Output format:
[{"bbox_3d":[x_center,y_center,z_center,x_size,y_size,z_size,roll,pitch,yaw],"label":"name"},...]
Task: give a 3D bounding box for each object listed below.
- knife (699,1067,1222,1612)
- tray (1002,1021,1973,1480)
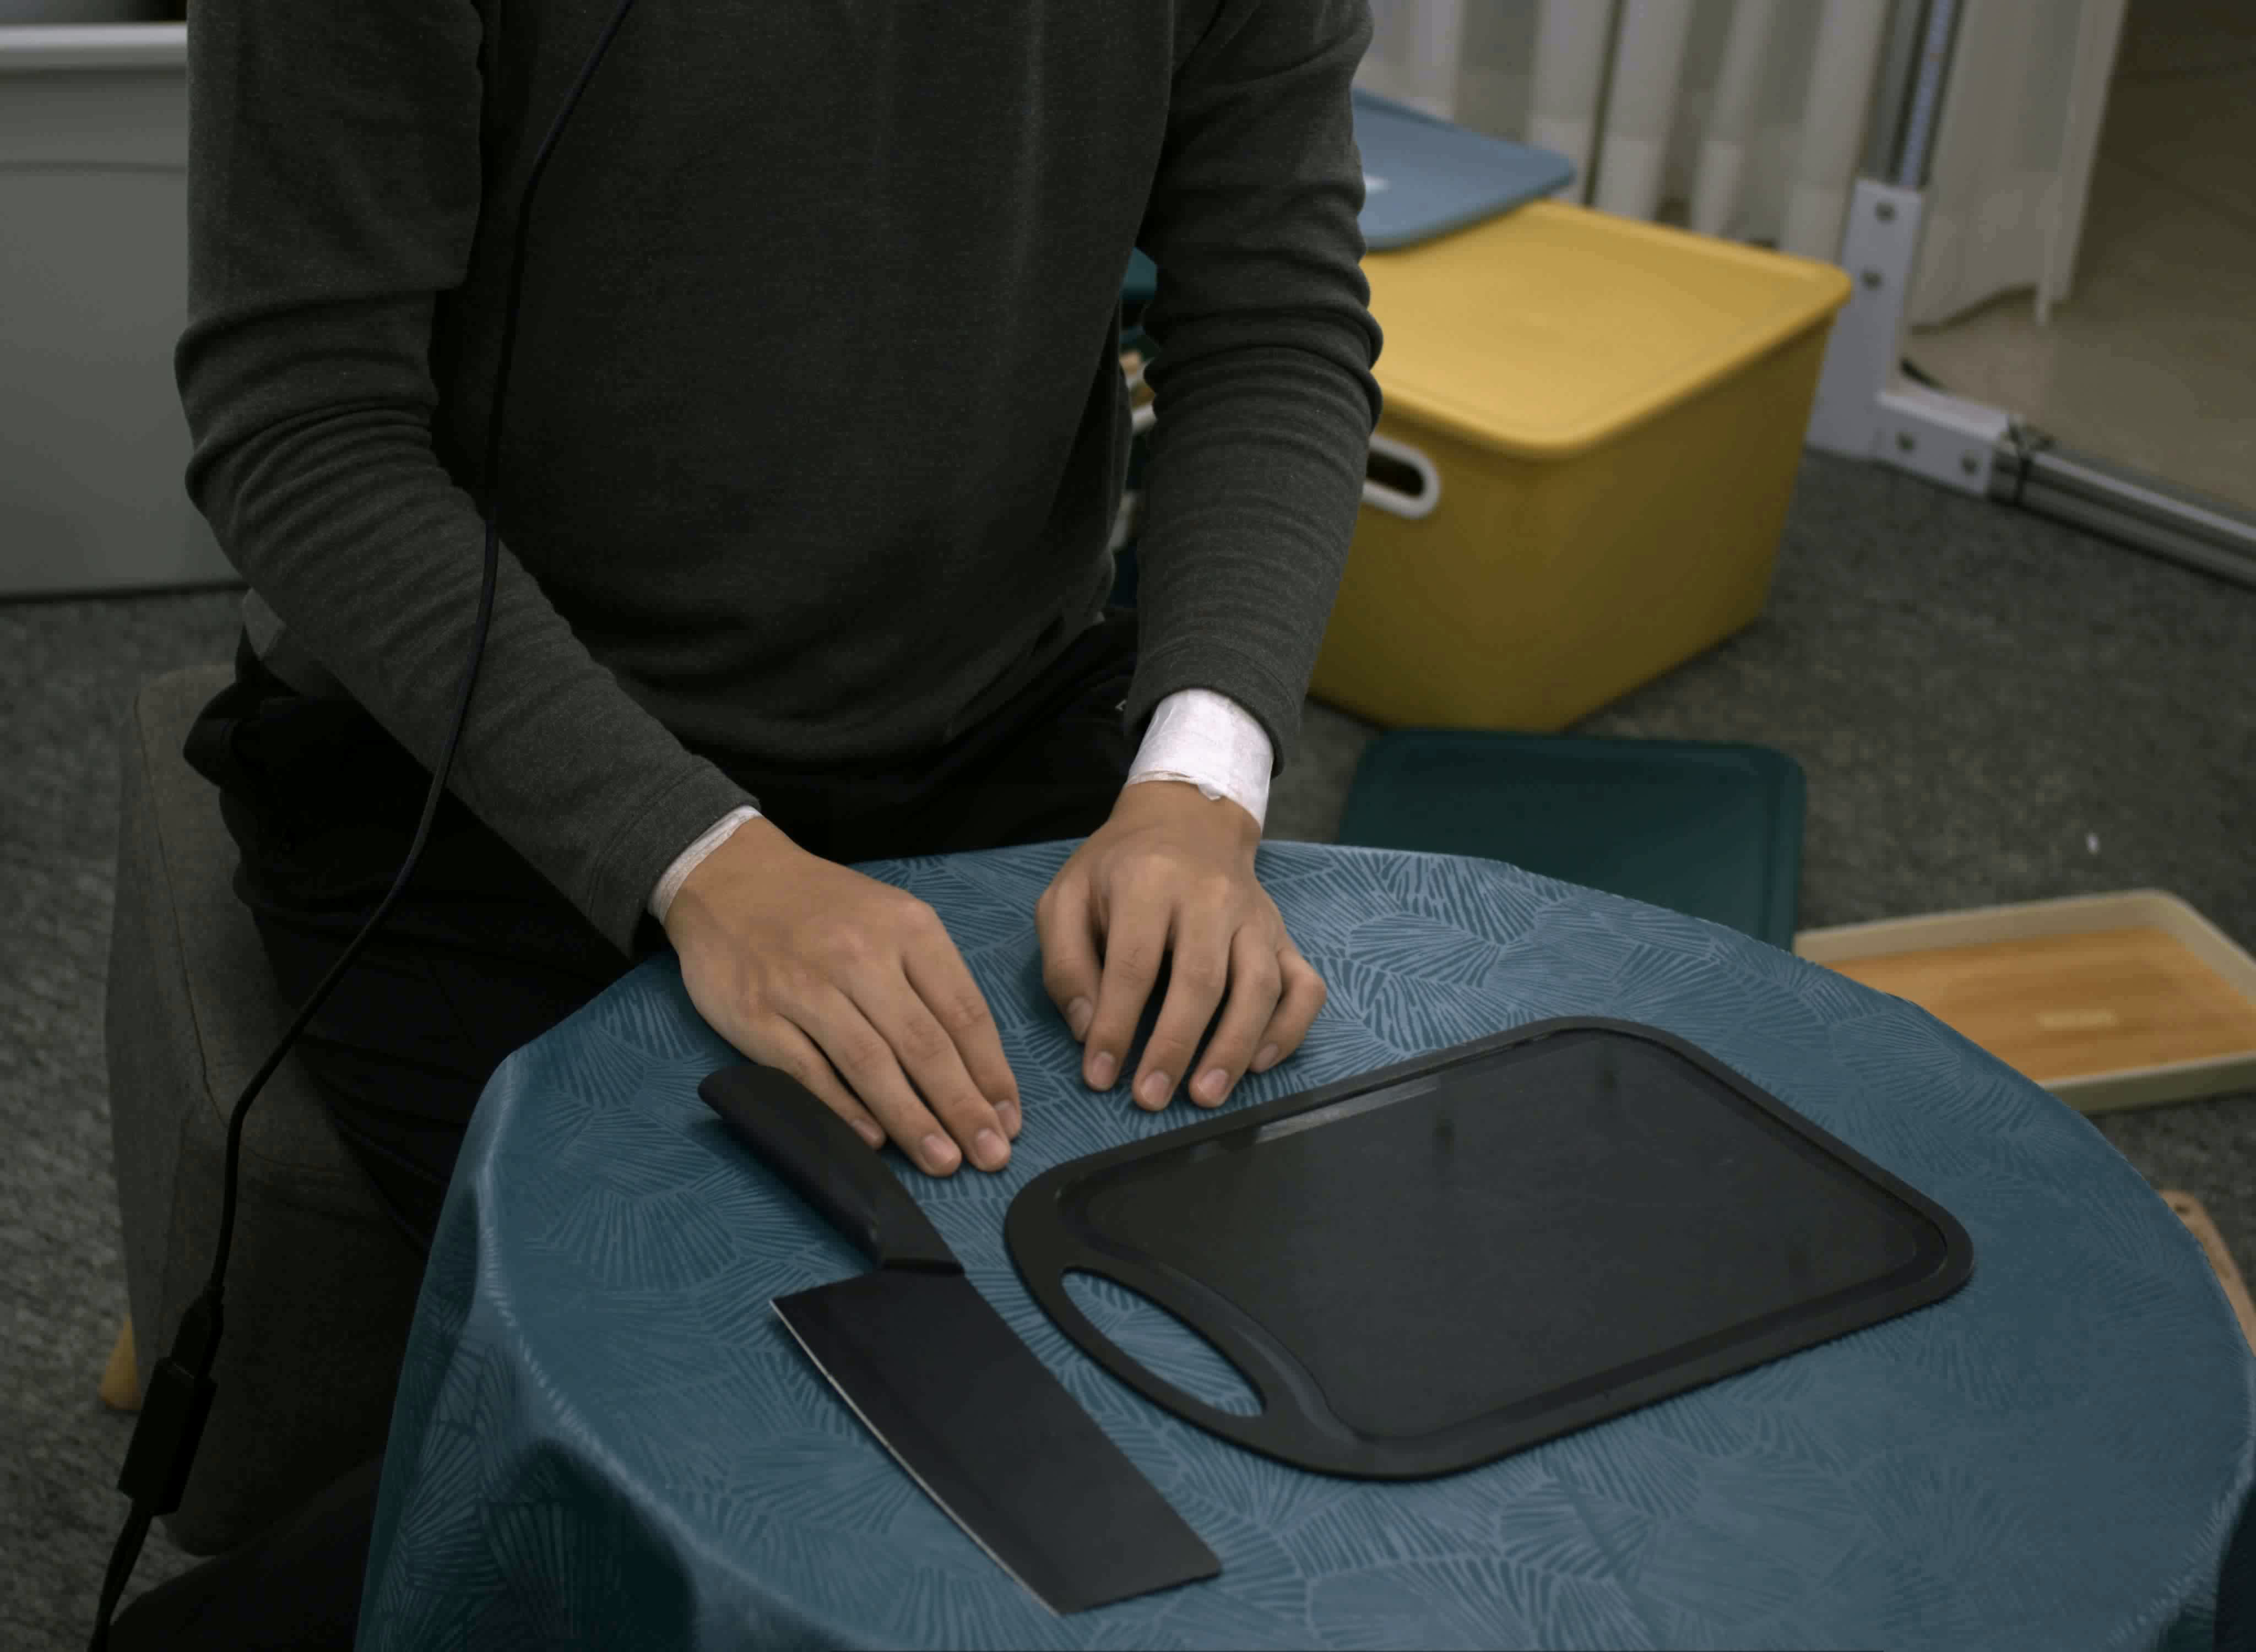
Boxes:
[{"bbox_3d":[-0.069,0.160,1.704,0.080,0.021,0.305,-8,32,-25],"label":"knife"},{"bbox_3d":[0.118,0.139,1.796,0.323,0.010,0.213,-14,32,-35],"label":"tray"}]
